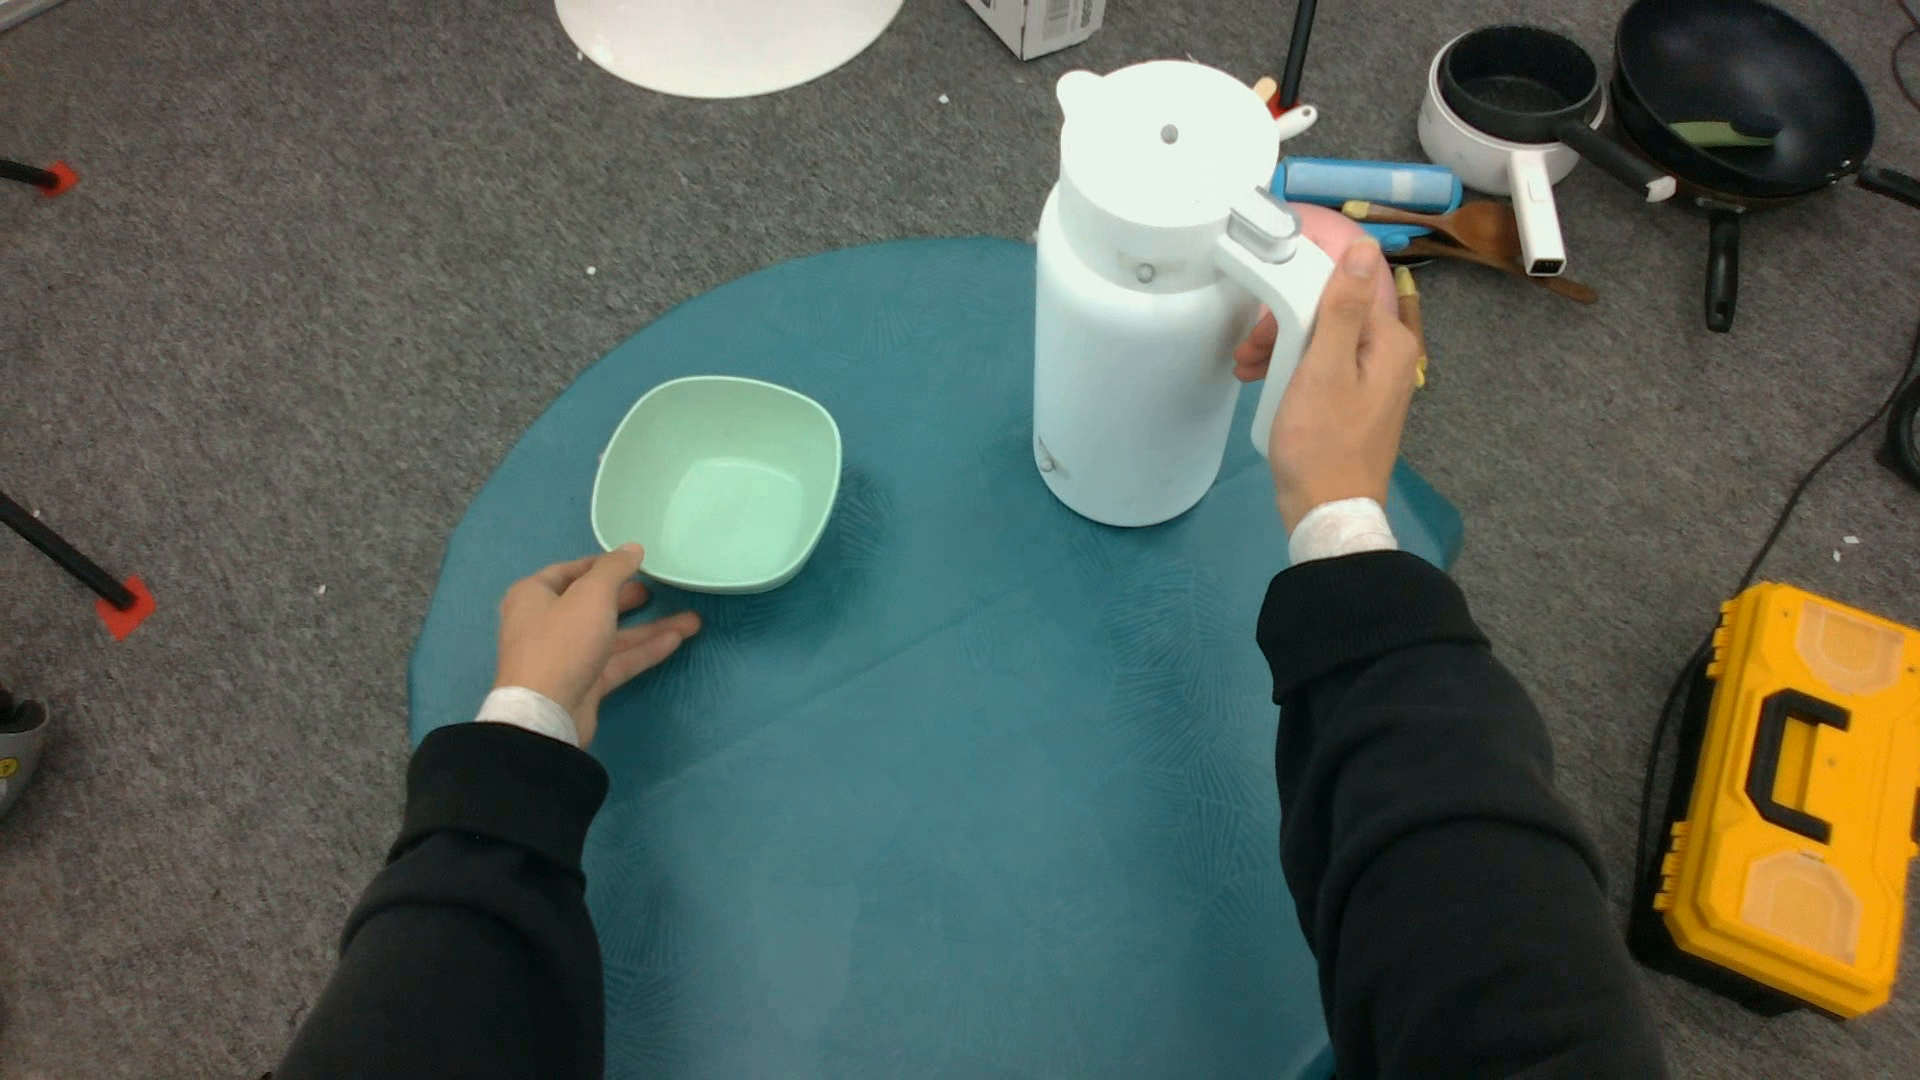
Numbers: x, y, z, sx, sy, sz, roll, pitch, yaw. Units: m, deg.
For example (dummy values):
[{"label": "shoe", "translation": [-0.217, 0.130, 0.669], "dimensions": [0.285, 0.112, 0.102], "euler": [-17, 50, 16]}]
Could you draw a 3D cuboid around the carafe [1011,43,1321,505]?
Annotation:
[{"label": "carafe", "translation": [0.100, -0.120, 0.735], "dimensions": [0.124, 0.267, 0.173], "euler": [-40, 69, -20]}]

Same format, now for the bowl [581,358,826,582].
[{"label": "bowl", "translation": [-0.148, -0.034, 0.820], "dimensions": [0.151, 0.058, 0.152], "euler": [0, 69, 0]}]
